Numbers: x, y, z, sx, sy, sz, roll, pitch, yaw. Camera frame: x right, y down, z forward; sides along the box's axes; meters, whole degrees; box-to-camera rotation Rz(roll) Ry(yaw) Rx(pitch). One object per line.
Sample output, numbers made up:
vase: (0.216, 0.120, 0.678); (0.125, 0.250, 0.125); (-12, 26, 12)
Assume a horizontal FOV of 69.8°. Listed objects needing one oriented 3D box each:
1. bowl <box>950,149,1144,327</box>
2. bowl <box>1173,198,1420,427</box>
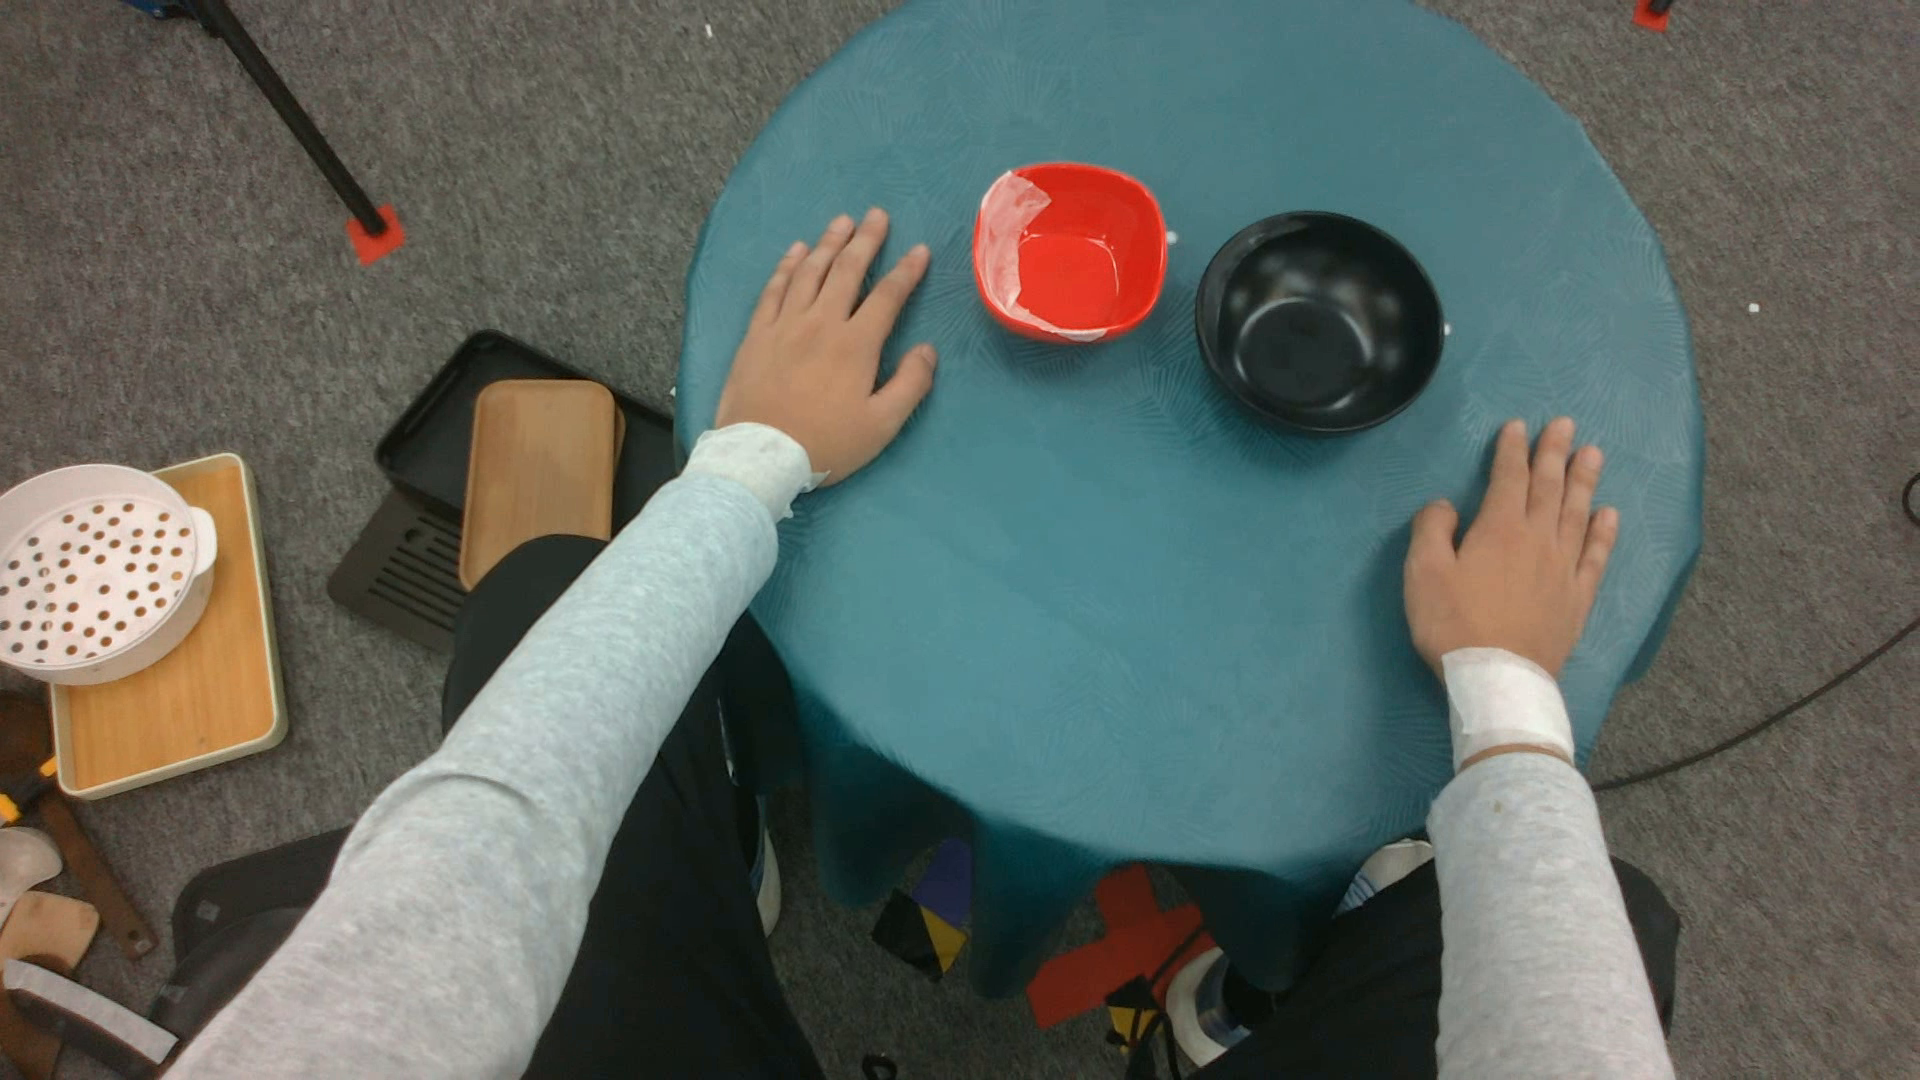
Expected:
bowl: (0.048, -0.166, 0.798); (0.119, 0.051, 0.119); (1, 68, -3)
bowl: (0.189, -0.124, 0.794); (0.140, 0.049, 0.140); (0, 73, -1)
